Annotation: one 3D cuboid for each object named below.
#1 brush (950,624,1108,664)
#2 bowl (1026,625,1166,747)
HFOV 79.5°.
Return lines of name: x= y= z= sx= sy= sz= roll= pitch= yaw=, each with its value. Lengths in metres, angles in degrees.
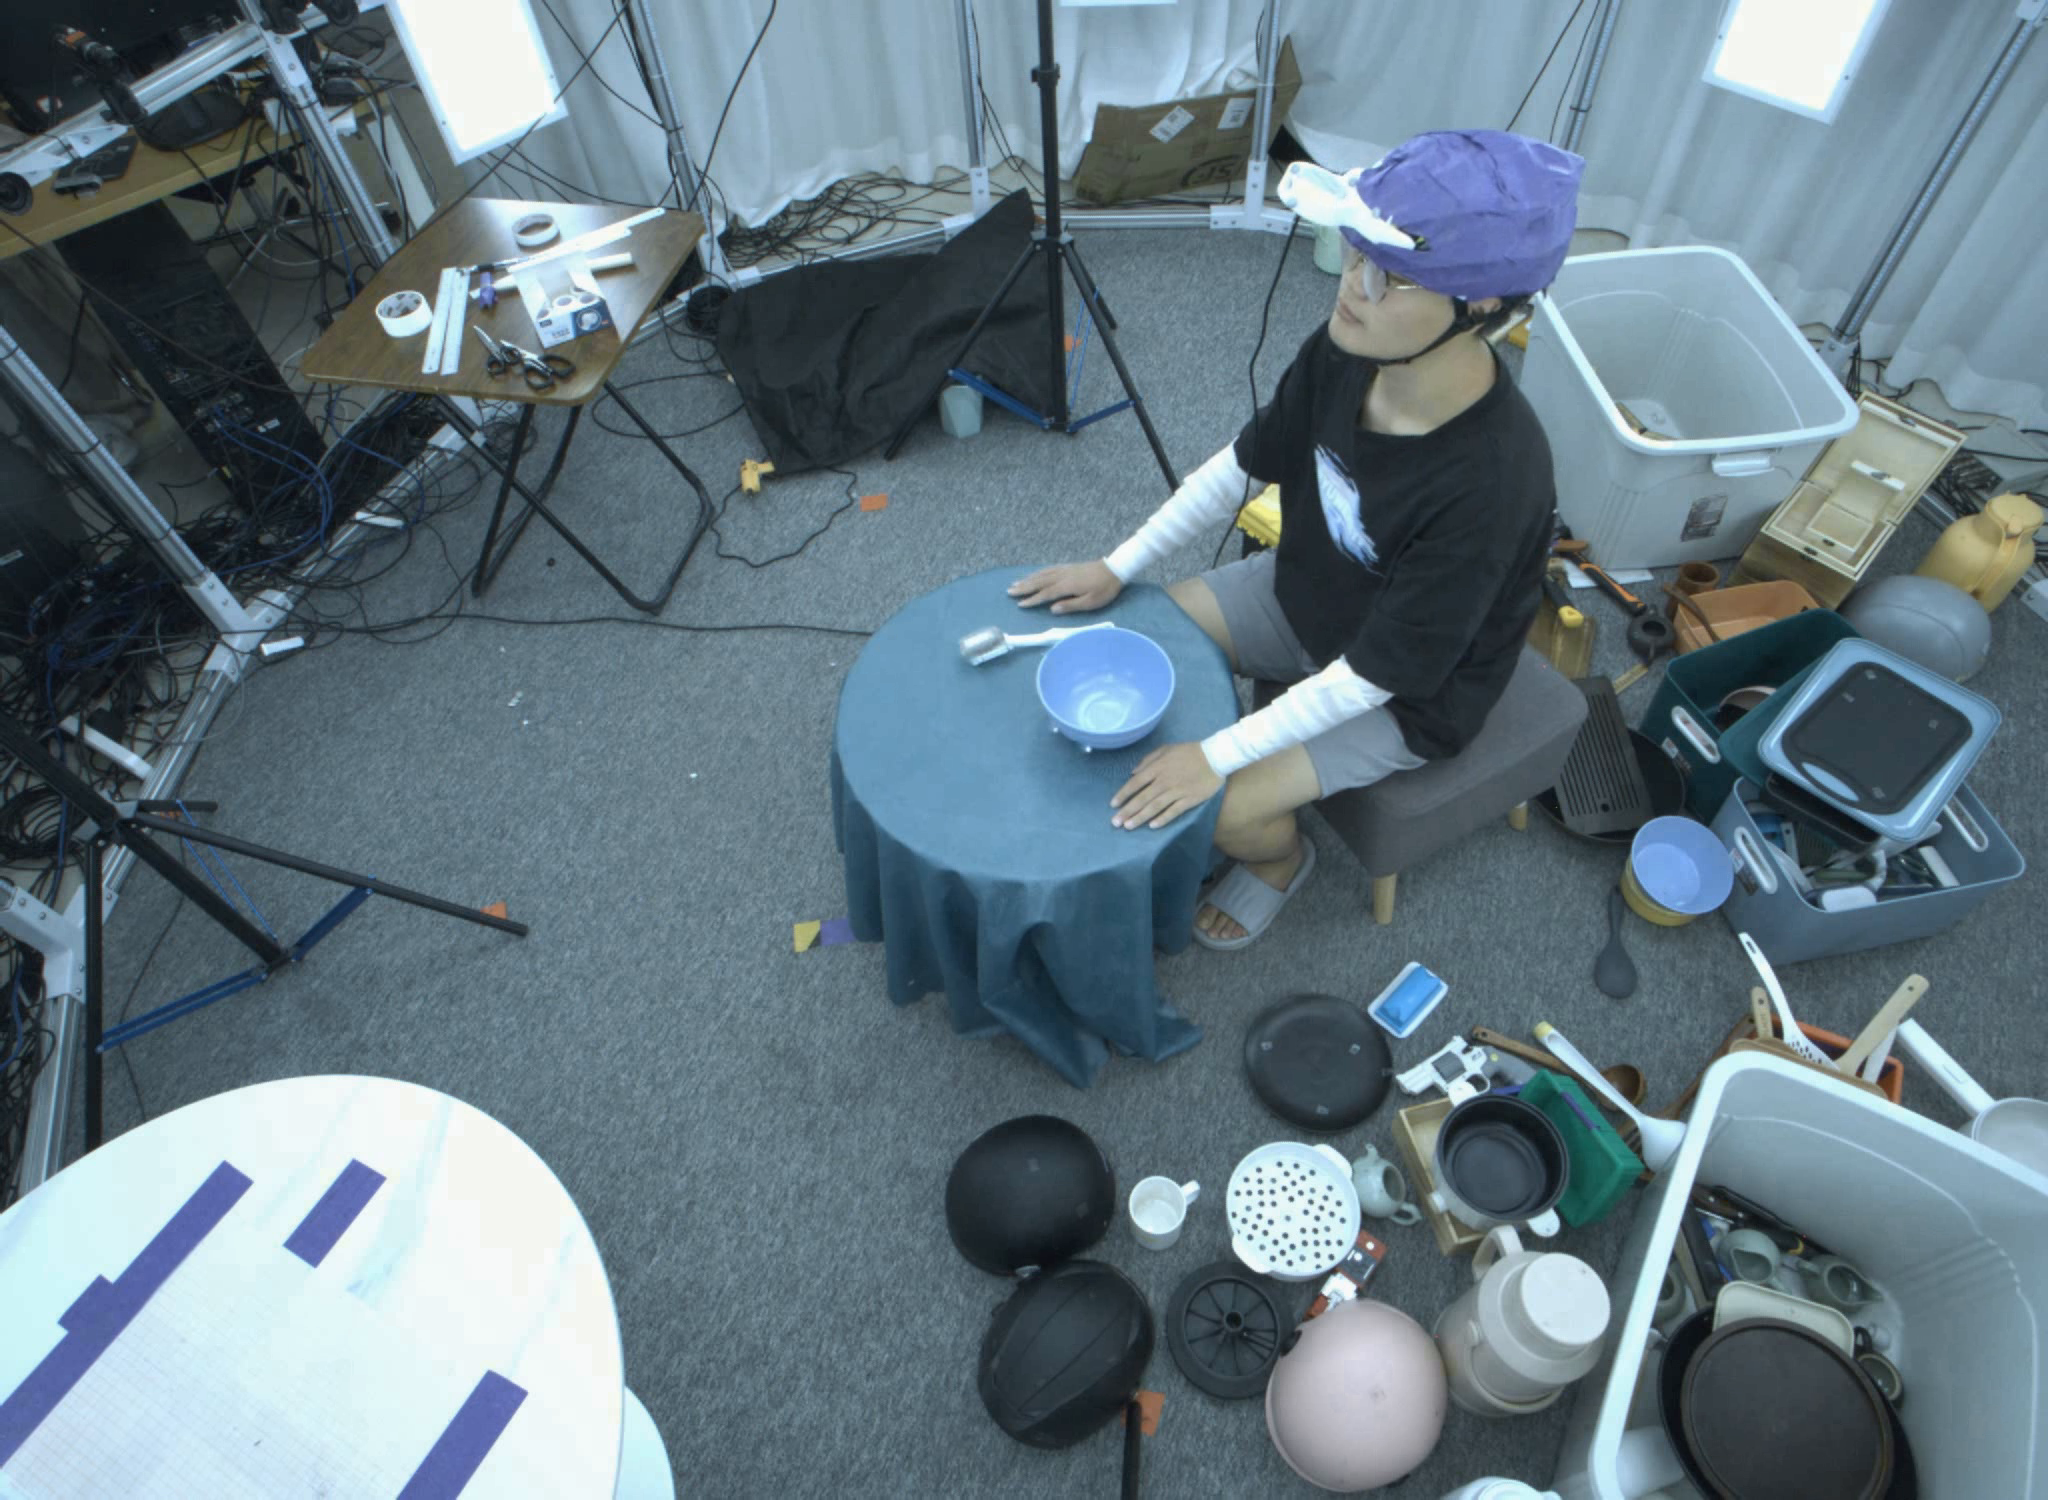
brush: x=0.009 y=-0.177 z=1.874 sx=0.244 sy=0.051 sz=0.034 roll=-10 pitch=51 yaw=-5
bowl: x=0.104 y=-0.077 z=1.772 sx=0.196 sy=0.096 sz=0.194 roll=-1 pitch=53 yaw=2
